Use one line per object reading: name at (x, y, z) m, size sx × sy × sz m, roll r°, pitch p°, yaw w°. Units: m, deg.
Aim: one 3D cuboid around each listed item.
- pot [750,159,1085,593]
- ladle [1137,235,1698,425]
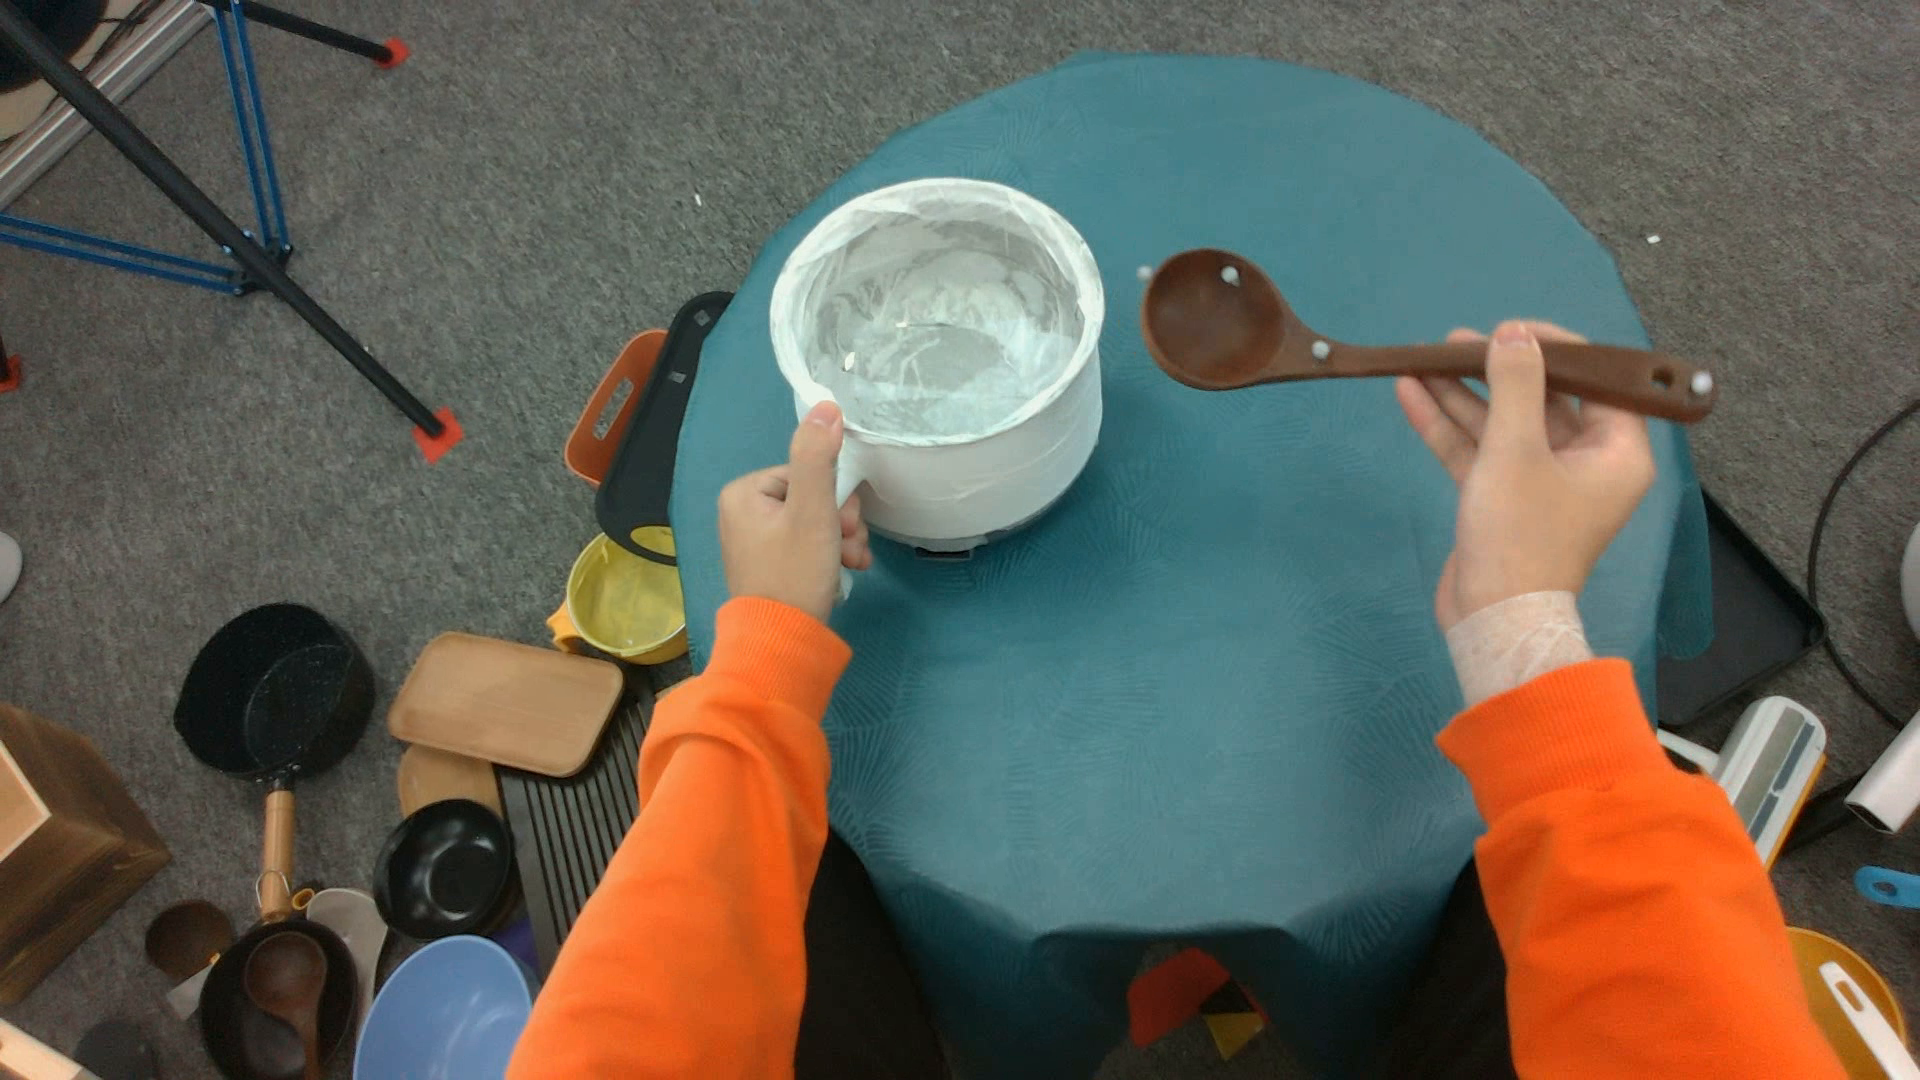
pot at (-0.032, -0.083, 0.770) m, size 0.178 × 0.136 × 0.234 m, roll 26°, pitch 67°, yaw 19°
ladle at (0.204, -0.097, 0.650) m, size 0.260 × 0.065 × 0.077 m, roll 15°, pitch 71°, yaw 35°
